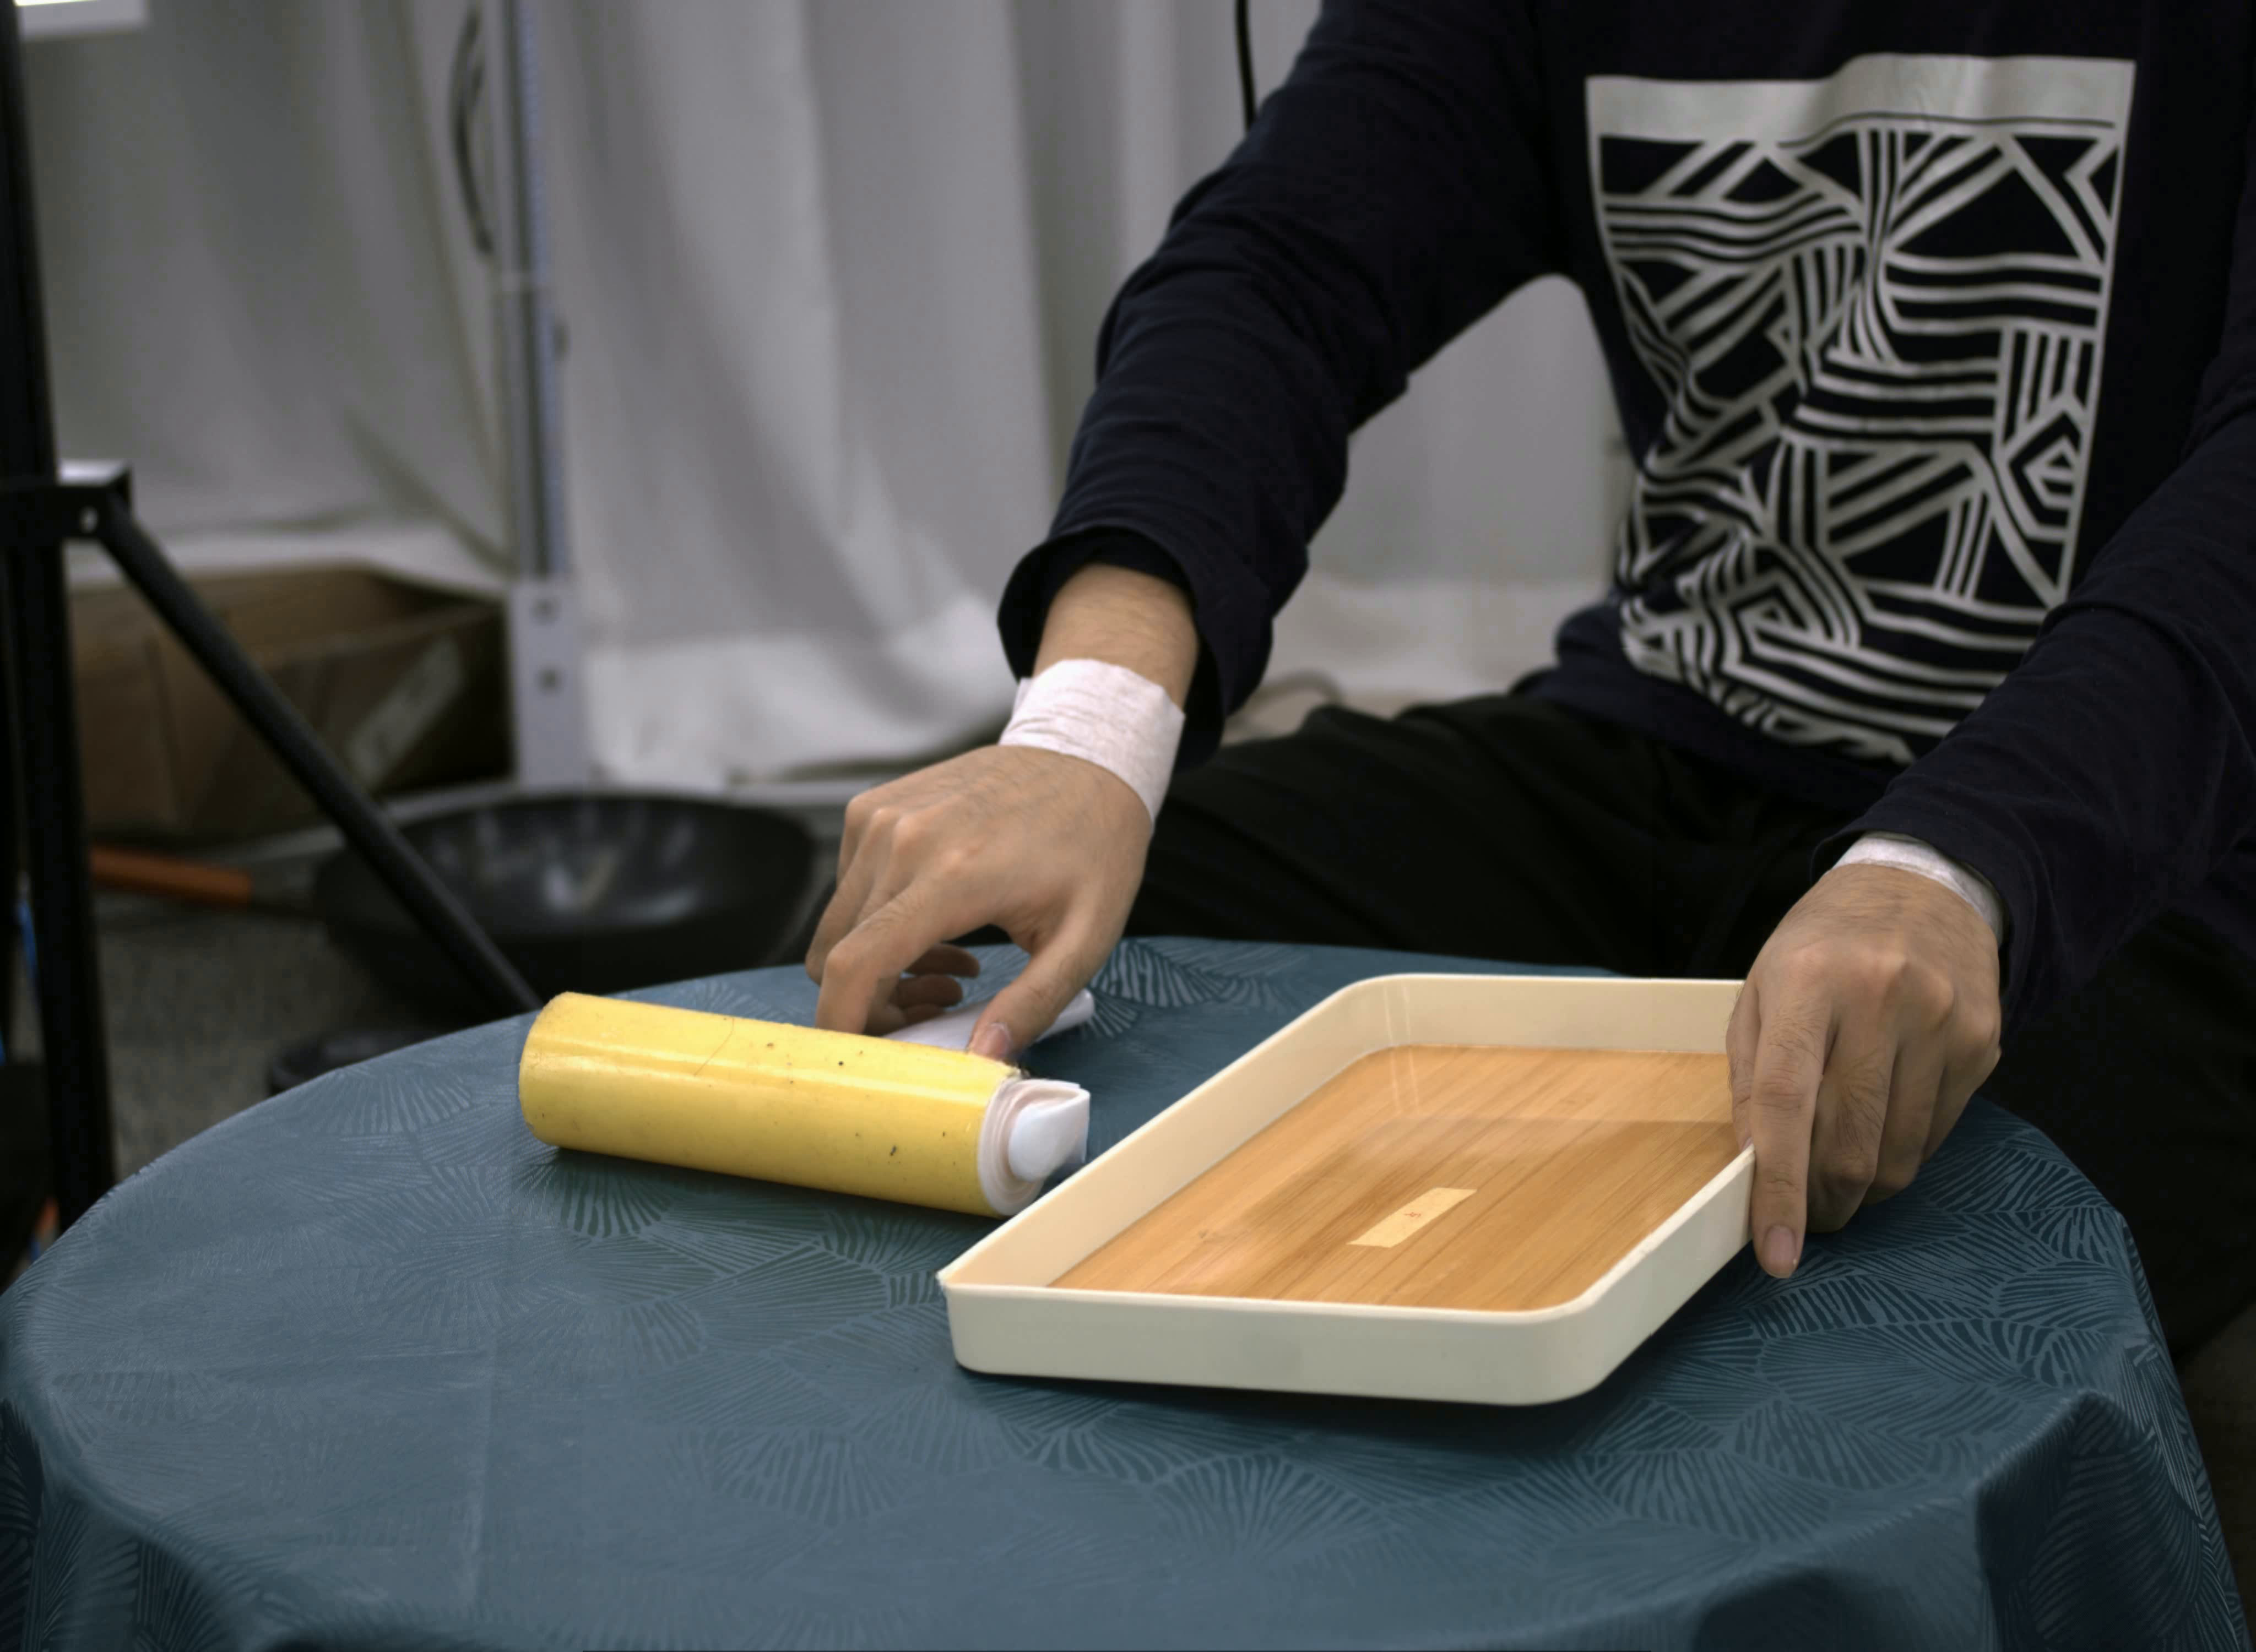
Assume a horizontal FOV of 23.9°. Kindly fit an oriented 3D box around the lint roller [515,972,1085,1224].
[{"bbox_3d":[-0.070,0.063,1.642,0.177,0.051,0.189,7,22,28],"label":"lint roller"}]

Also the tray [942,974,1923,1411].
[{"bbox_3d":[0.094,0.099,1.505,0.195,0.027,0.295,1,16,28],"label":"tray"}]
